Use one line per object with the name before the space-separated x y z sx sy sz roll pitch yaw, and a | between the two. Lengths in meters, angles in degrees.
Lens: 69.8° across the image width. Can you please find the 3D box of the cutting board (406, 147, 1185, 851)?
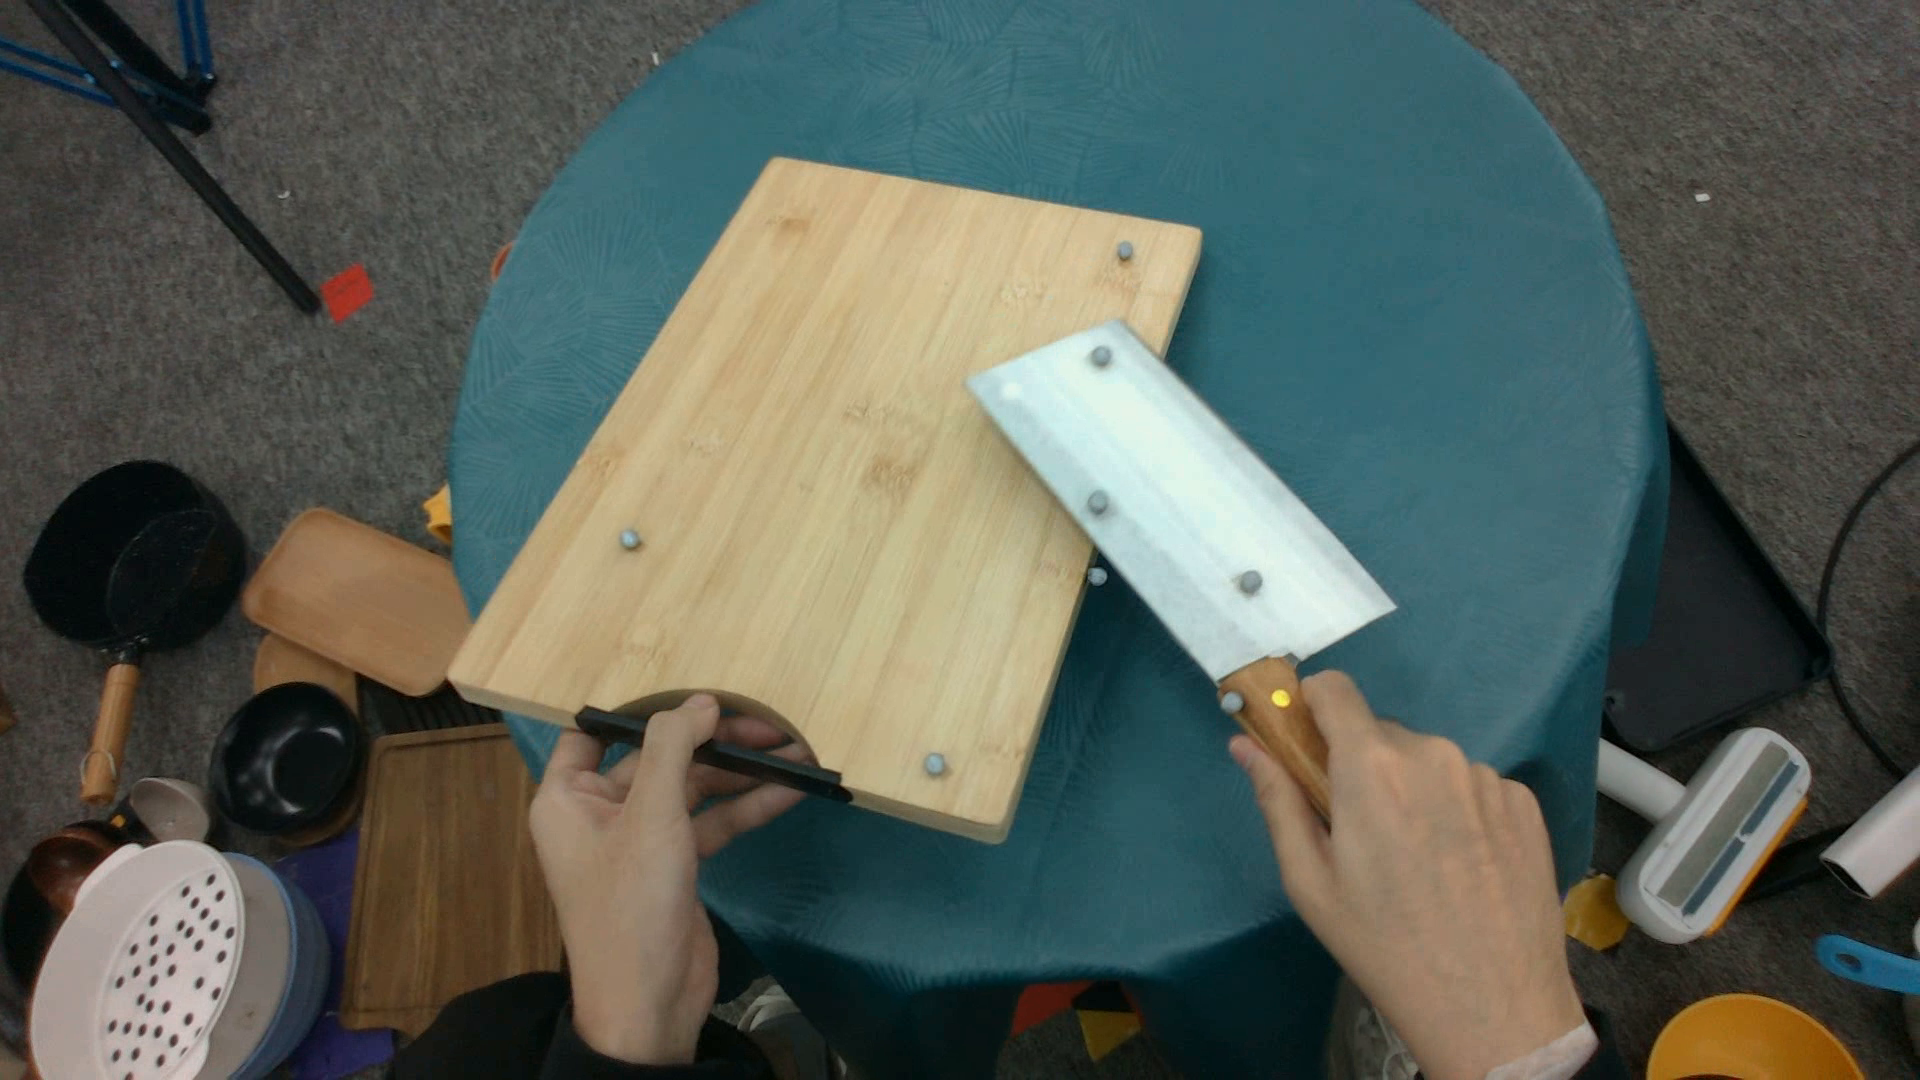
cutting board | -0.055 -0.047 0.632 0.250 0.023 0.350 12 56 13

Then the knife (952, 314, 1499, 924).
knife | 0.114 0.011 0.559 0.093 0.021 0.306 -25 60 -25
